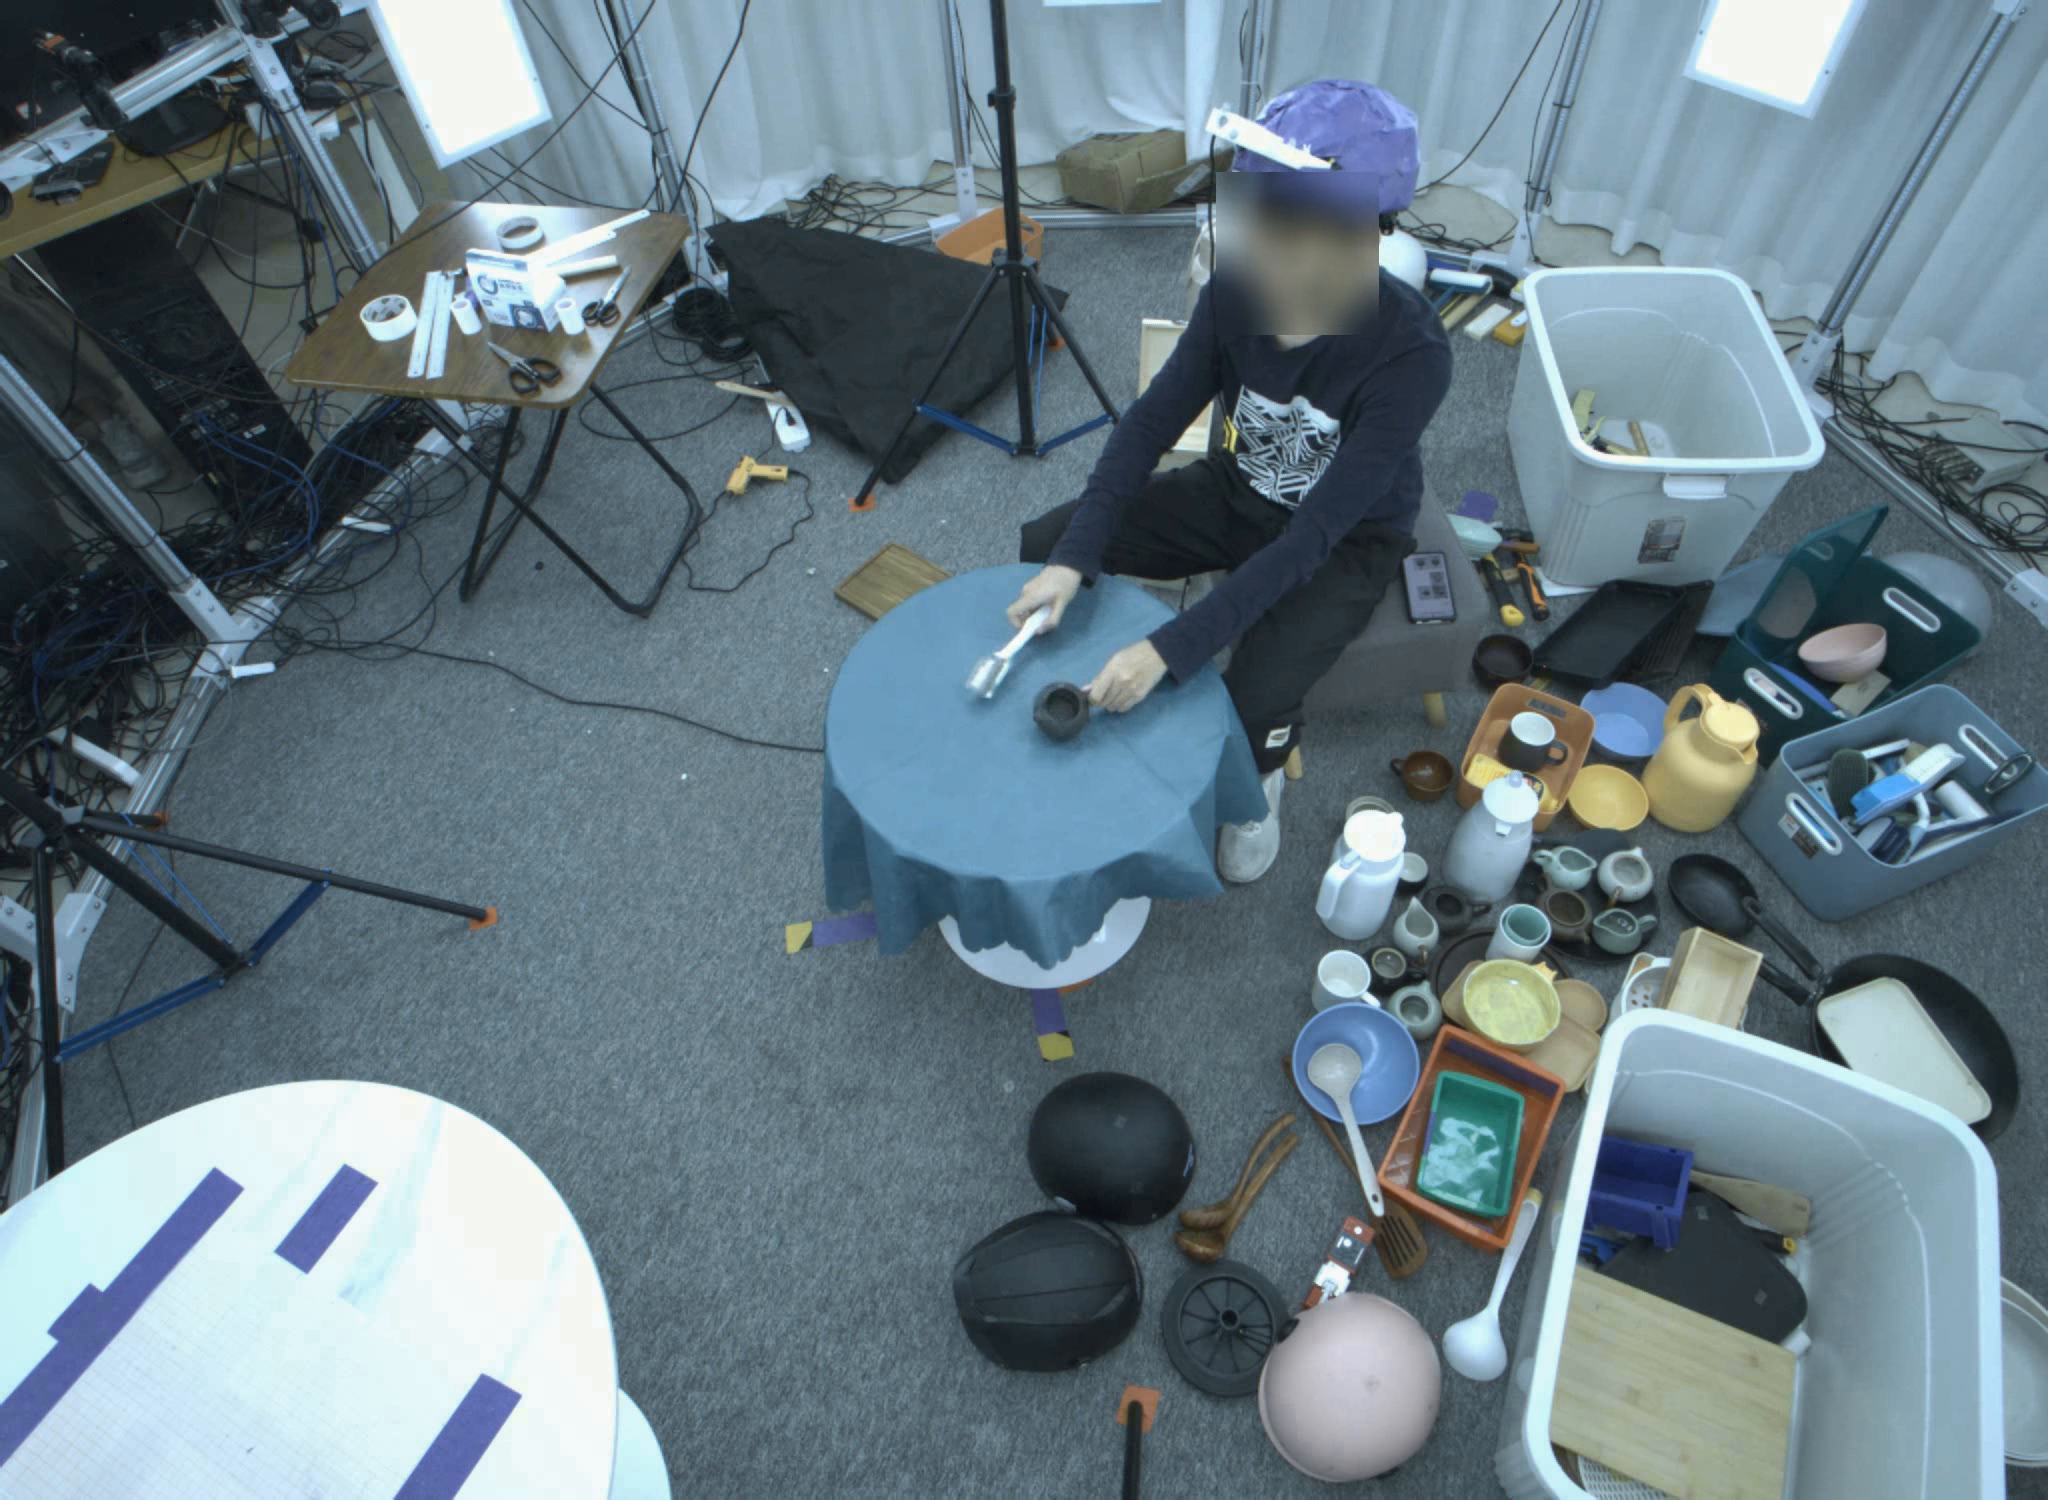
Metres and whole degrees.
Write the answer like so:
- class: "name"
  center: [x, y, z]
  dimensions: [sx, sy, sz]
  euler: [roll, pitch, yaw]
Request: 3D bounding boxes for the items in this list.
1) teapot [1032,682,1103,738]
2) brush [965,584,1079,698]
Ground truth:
- class: "teapot"
  center: [0.063, -0.063, 1.778]
  dimensions: [0.114, 0.053, 0.082]
  euler: [-23, 80, -8]
- class: "brush"
  center: [-0.001, -0.174, 1.849]
  dimensions: [0.034, 0.051, 0.244]
  euler: [34, 73, 25]
